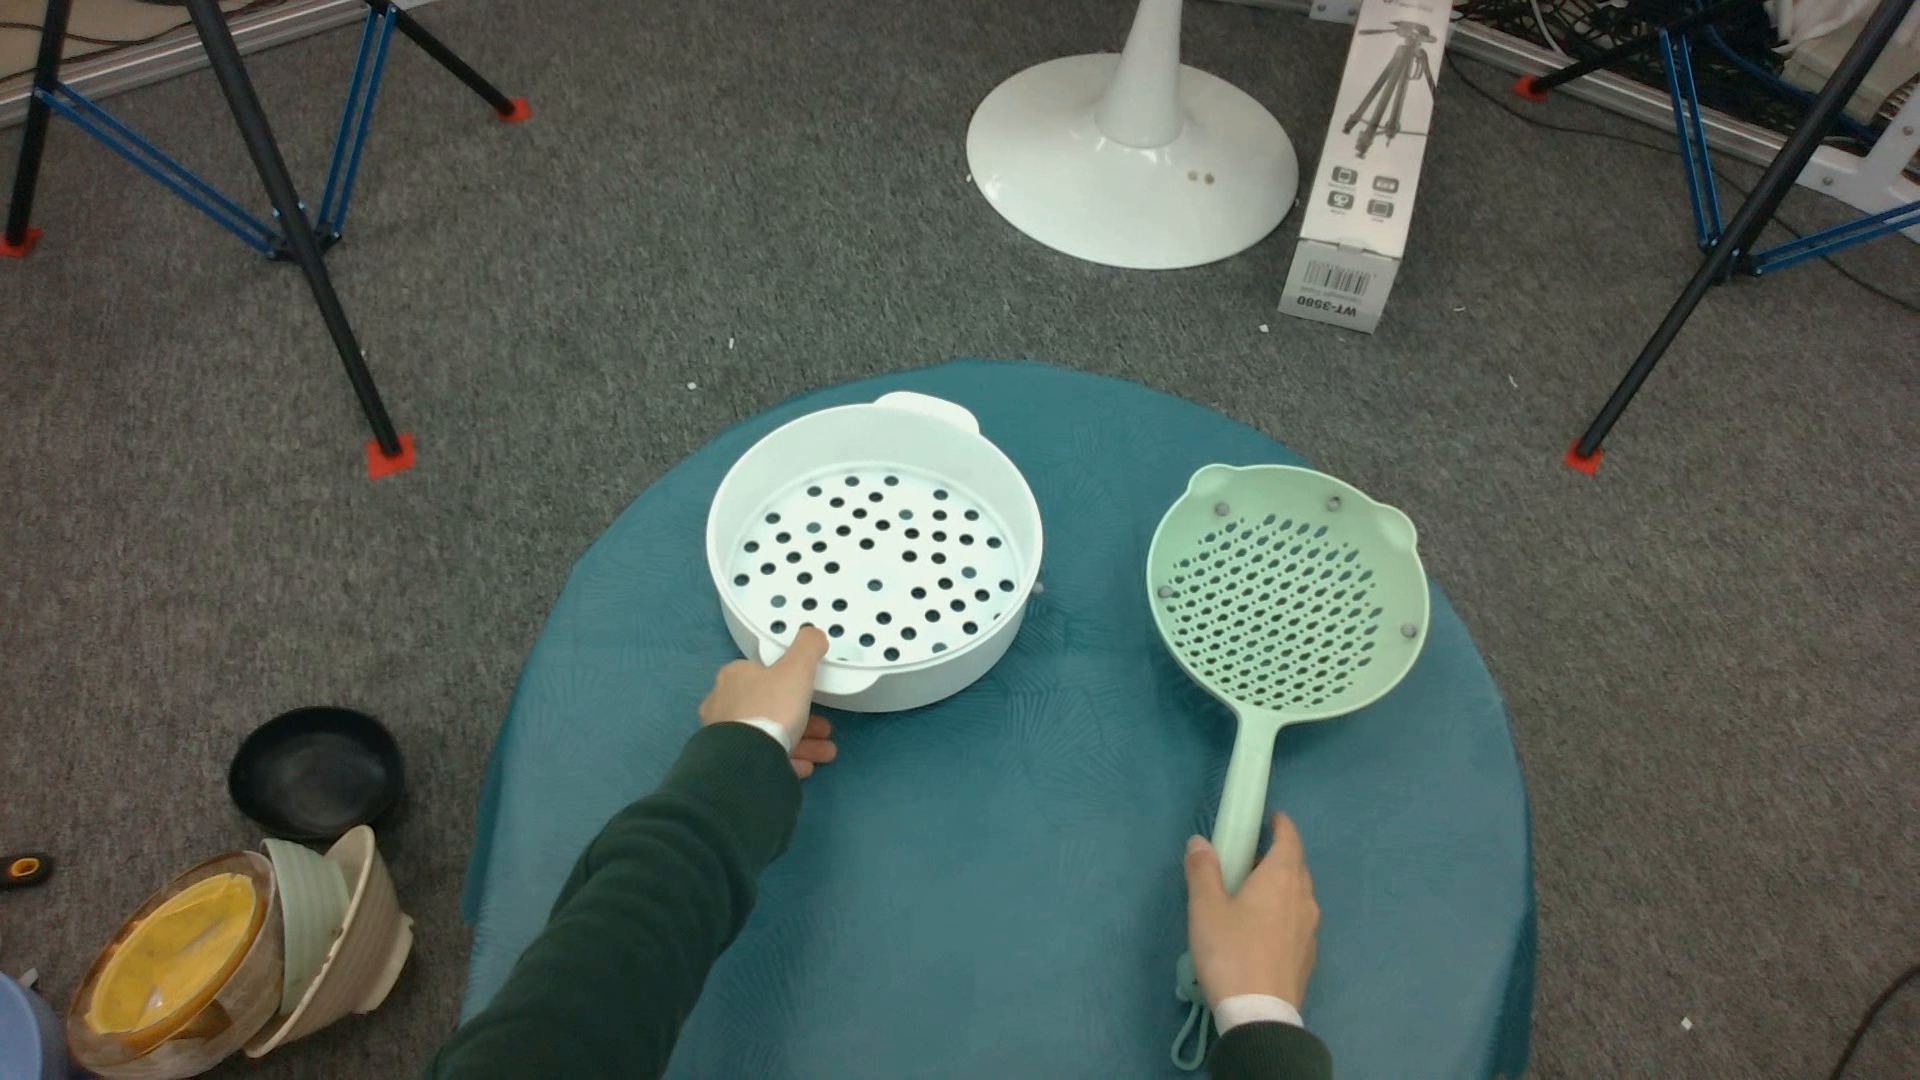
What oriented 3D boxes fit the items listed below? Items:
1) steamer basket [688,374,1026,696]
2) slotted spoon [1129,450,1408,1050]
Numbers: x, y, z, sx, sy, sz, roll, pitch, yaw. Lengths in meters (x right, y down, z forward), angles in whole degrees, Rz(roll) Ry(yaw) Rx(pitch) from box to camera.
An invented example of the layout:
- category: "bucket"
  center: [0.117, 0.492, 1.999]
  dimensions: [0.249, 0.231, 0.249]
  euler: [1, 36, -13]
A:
- category: "steamer basket"
  center: [-0.062, 0.001, 0.848]
  dimensions: [0.202, 0.069, 0.232]
  euler: [15, 54, 6]
- category: "slotted spoon"
  center: [0.158, 0.106, 0.790]
  dimensions: [0.169, 0.075, 0.360]
  euler: [15, 54, 6]
